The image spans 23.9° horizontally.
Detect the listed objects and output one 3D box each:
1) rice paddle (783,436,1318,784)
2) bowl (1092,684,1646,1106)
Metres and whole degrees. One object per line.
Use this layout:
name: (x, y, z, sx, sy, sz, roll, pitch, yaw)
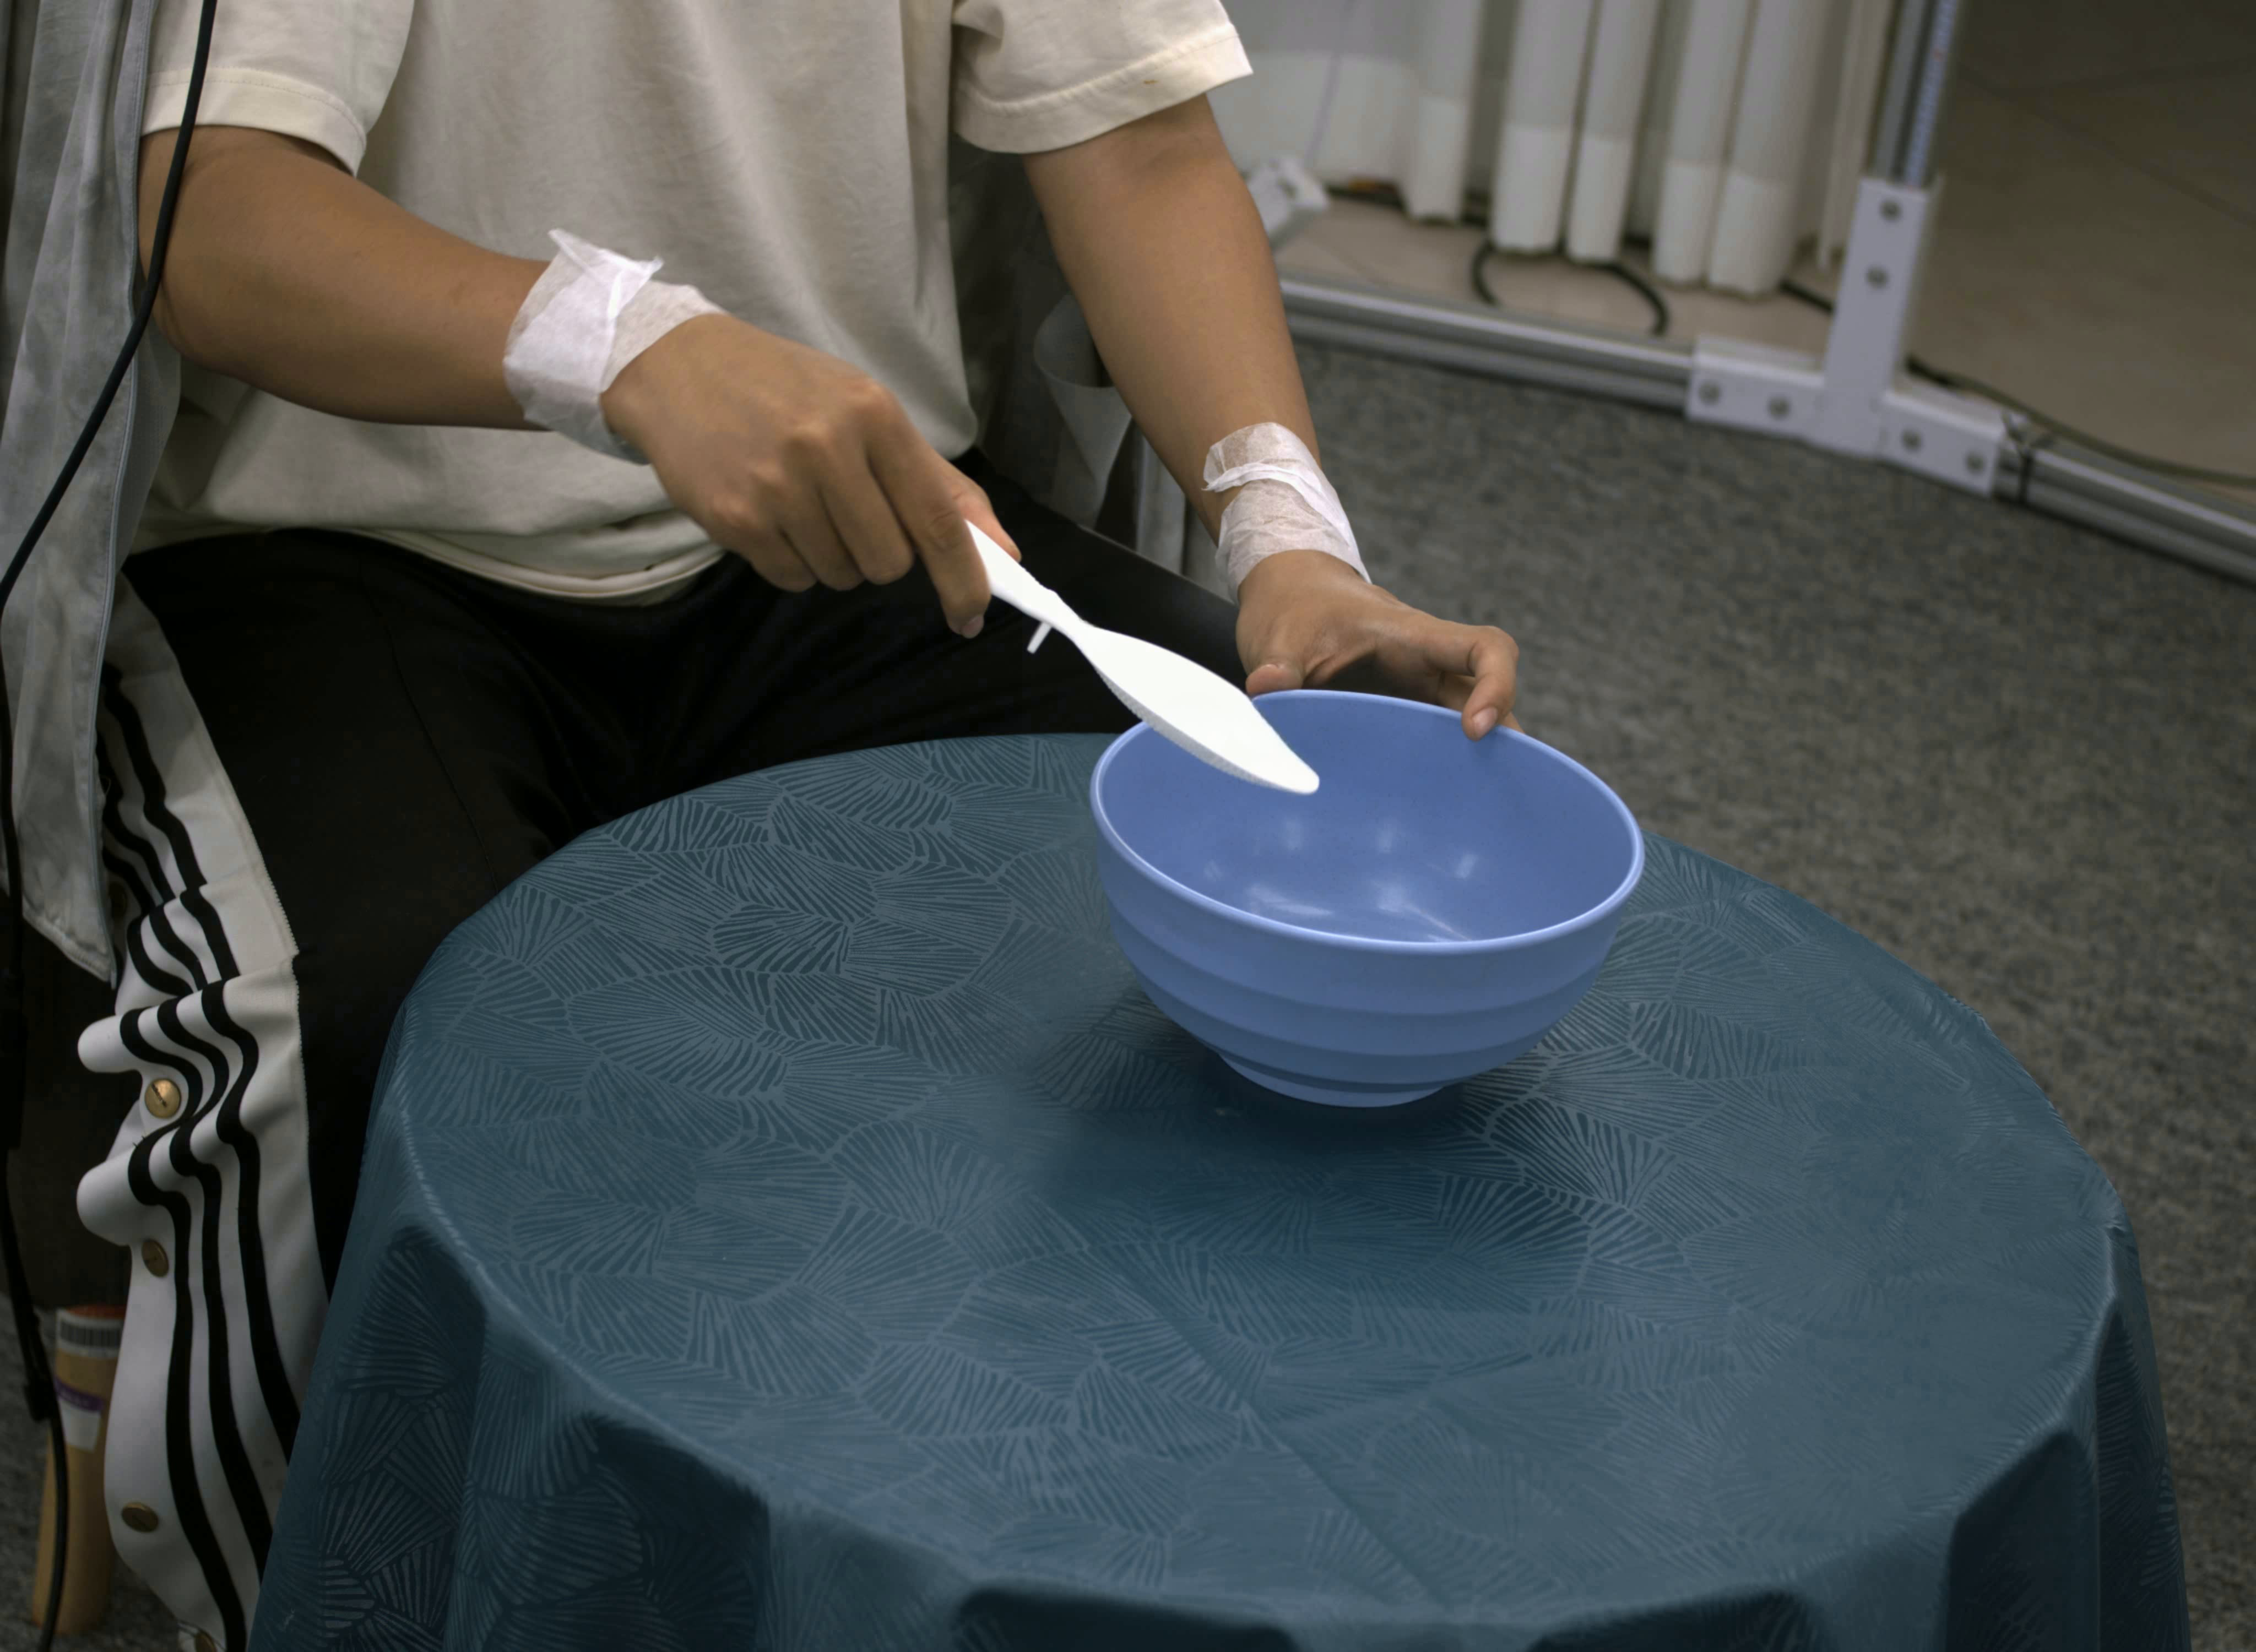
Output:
rice paddle: (-0.022, -0.071, 1.819, 0.204, 0.029, 0.069, 30, 22, -5)
bowl: (0.080, 0.035, 1.890, 0.196, 0.095, 0.198, 5, 28, -3)
